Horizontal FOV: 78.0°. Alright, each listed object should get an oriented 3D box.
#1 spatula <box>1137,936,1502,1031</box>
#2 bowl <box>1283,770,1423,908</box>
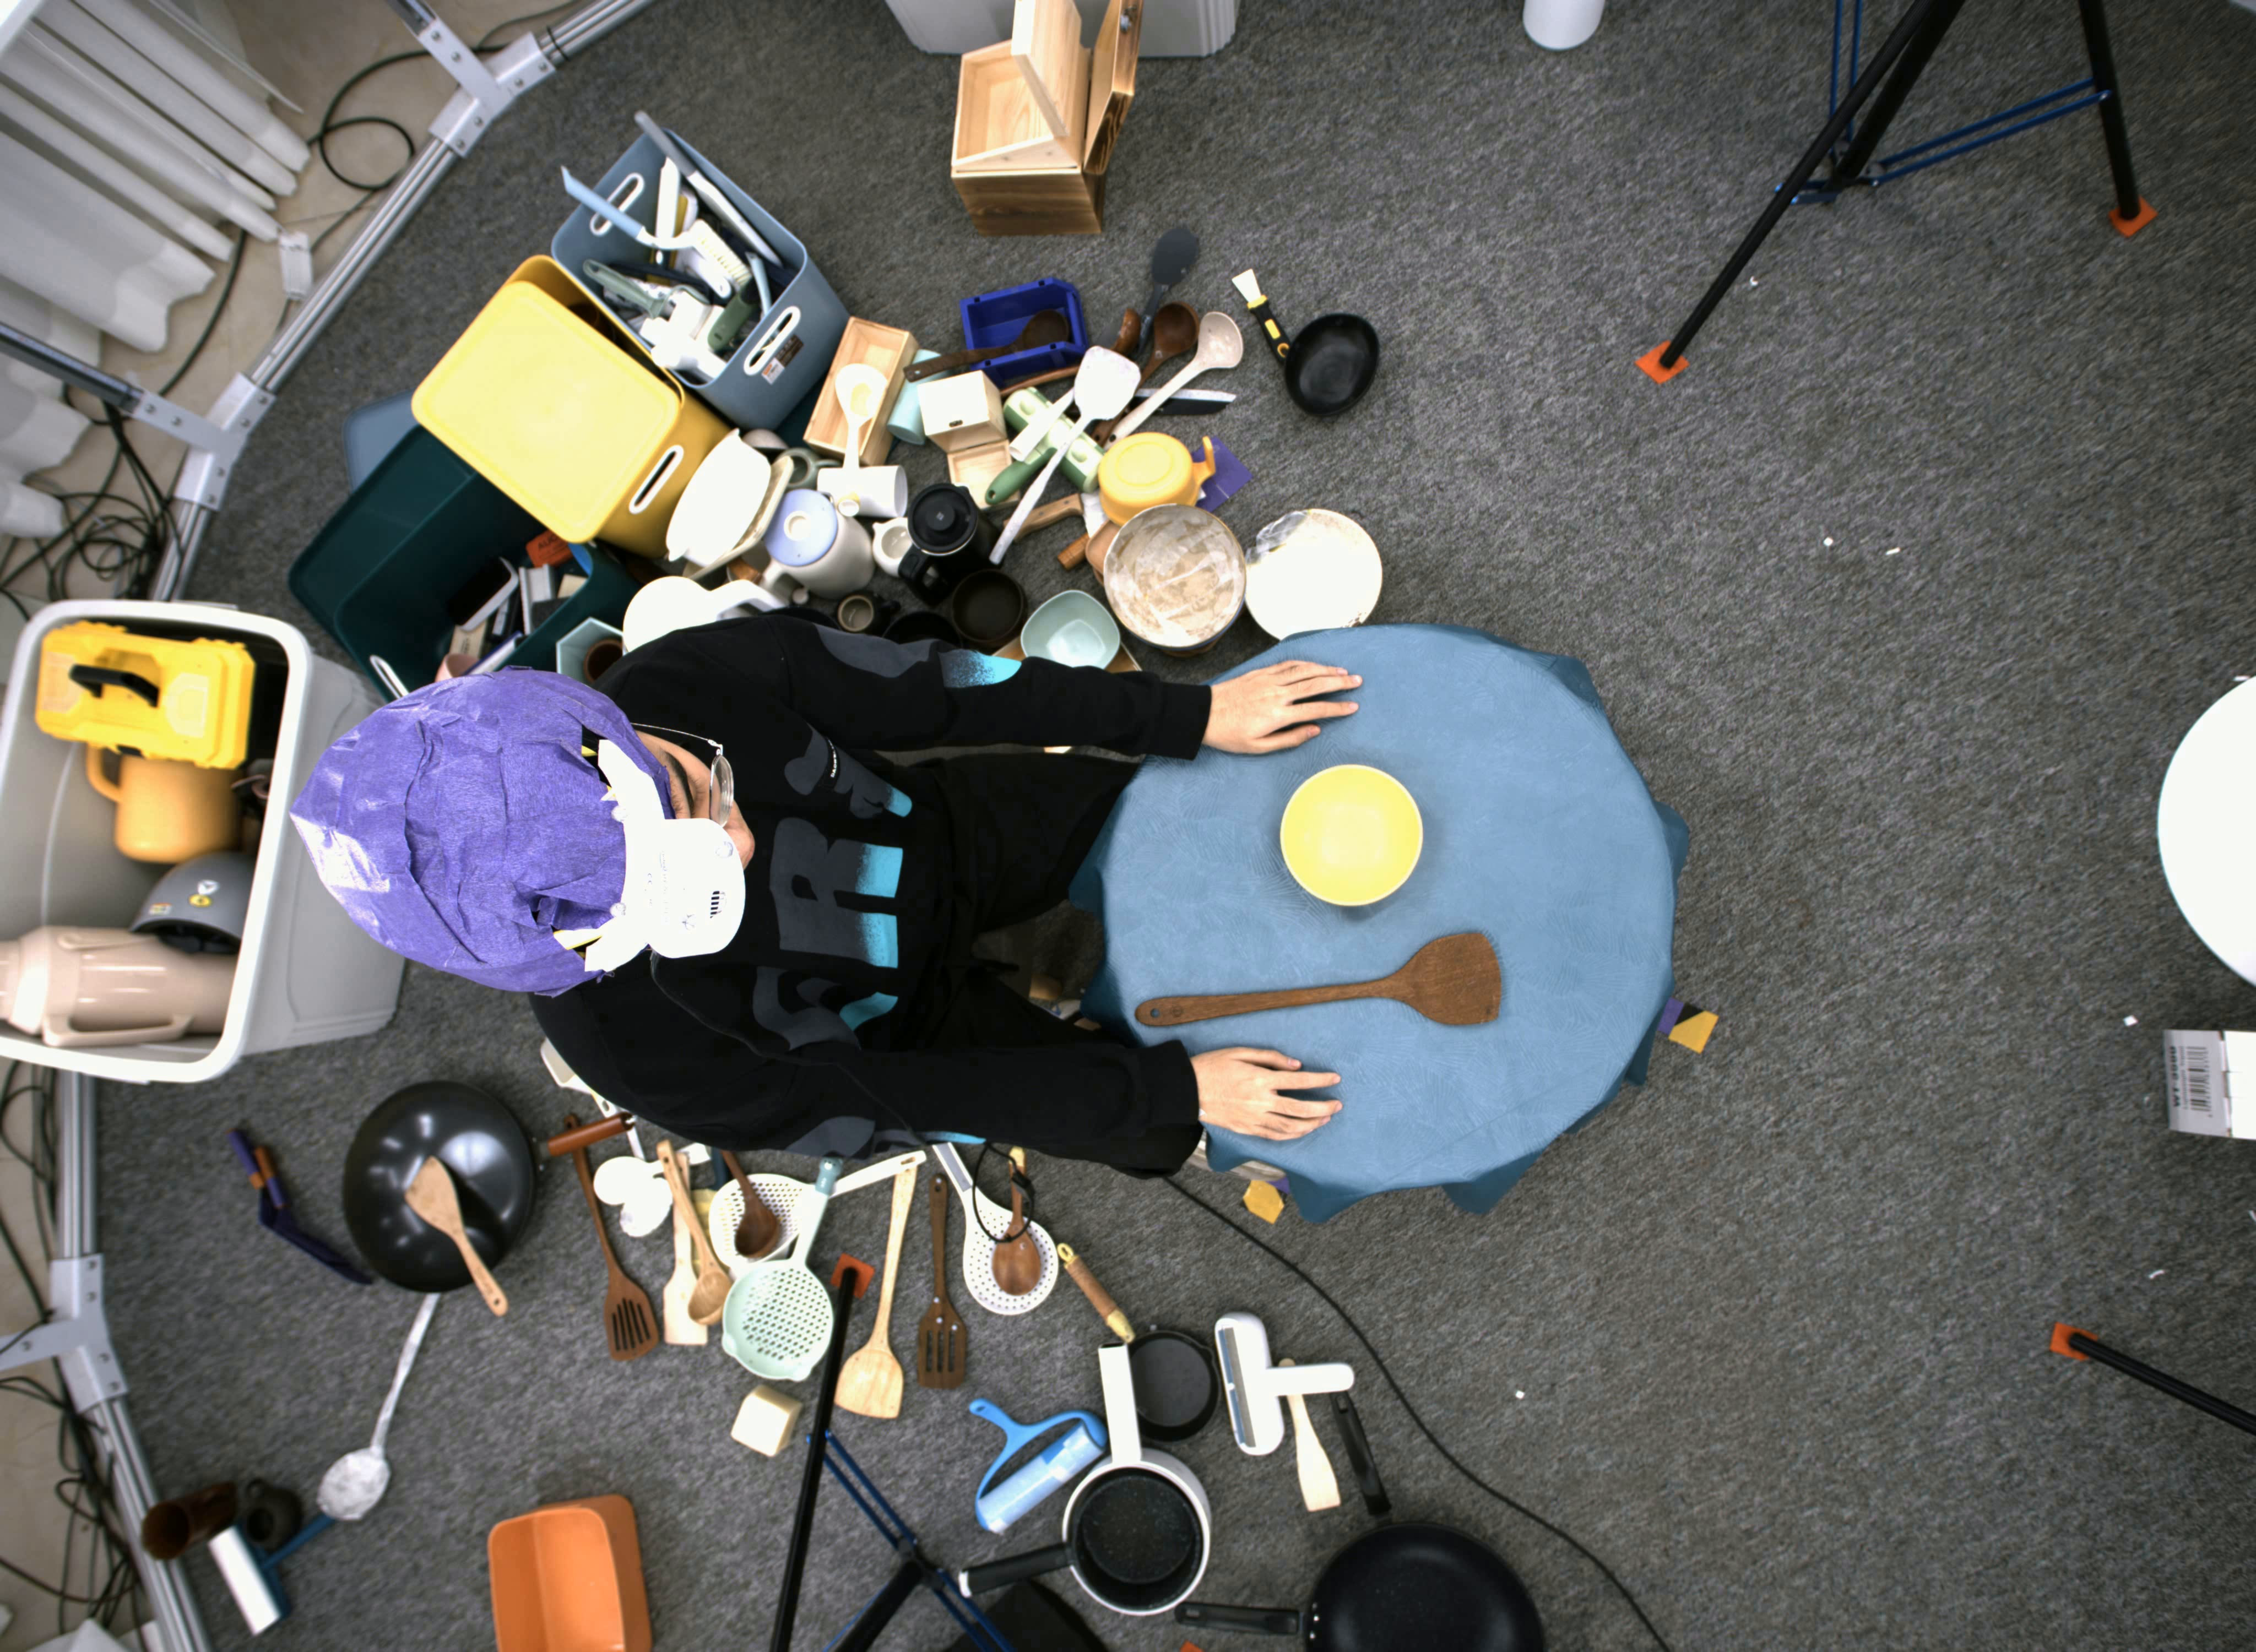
[{"bbox_3d":[0.198,0.182,1.463,0.388,0.016,0.095,-8,84,10],"label":"spatula"},{"bbox_3d":[0.236,0.016,1.447,0.146,0.060,0.144,-2,83,11],"label":"bowl"}]
